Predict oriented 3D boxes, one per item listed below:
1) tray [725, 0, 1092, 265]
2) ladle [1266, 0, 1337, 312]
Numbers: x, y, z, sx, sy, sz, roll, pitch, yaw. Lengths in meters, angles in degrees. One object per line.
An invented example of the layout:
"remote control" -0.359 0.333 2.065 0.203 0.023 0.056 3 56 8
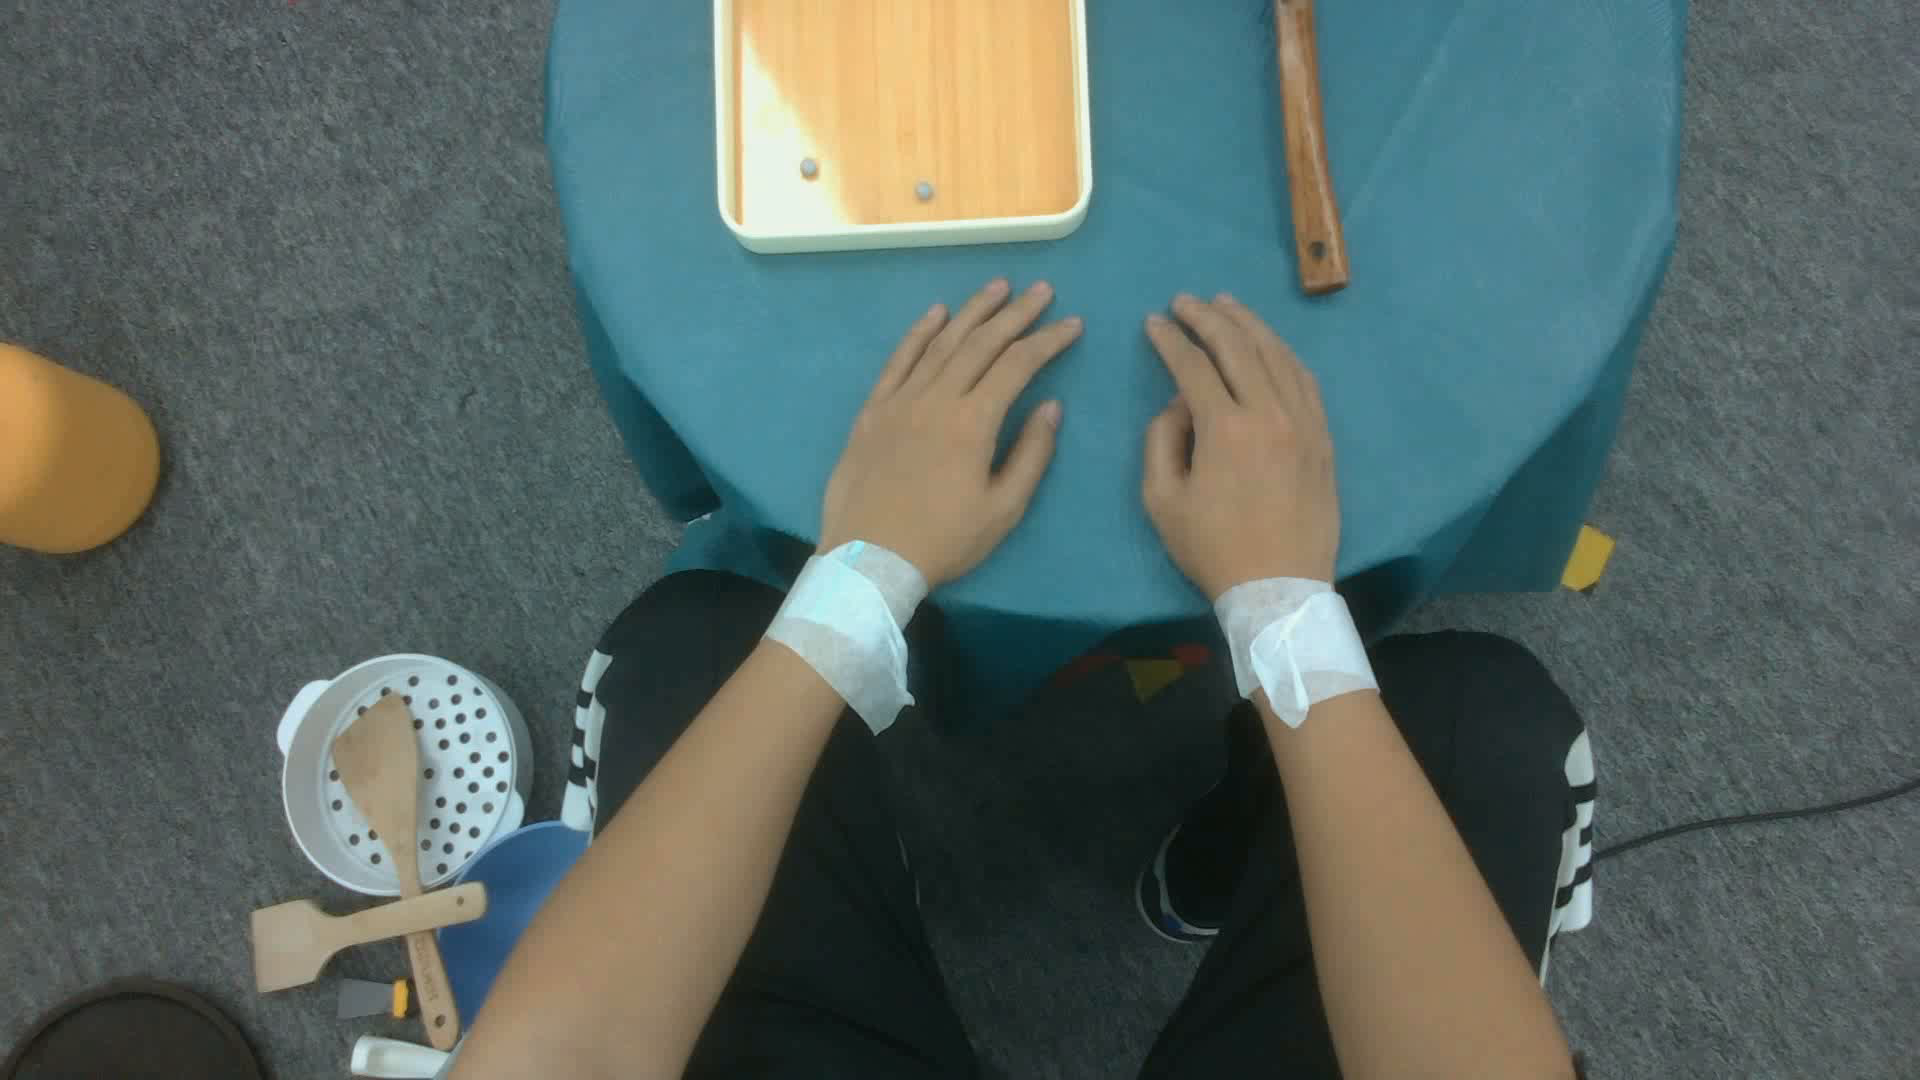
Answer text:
"tray" -0.031 -0.298 0.747 0.191 0.027 0.301 -2 79 2
"ladle" 0.160 -0.258 0.708 0.081 0.077 0.274 -11 77 41
